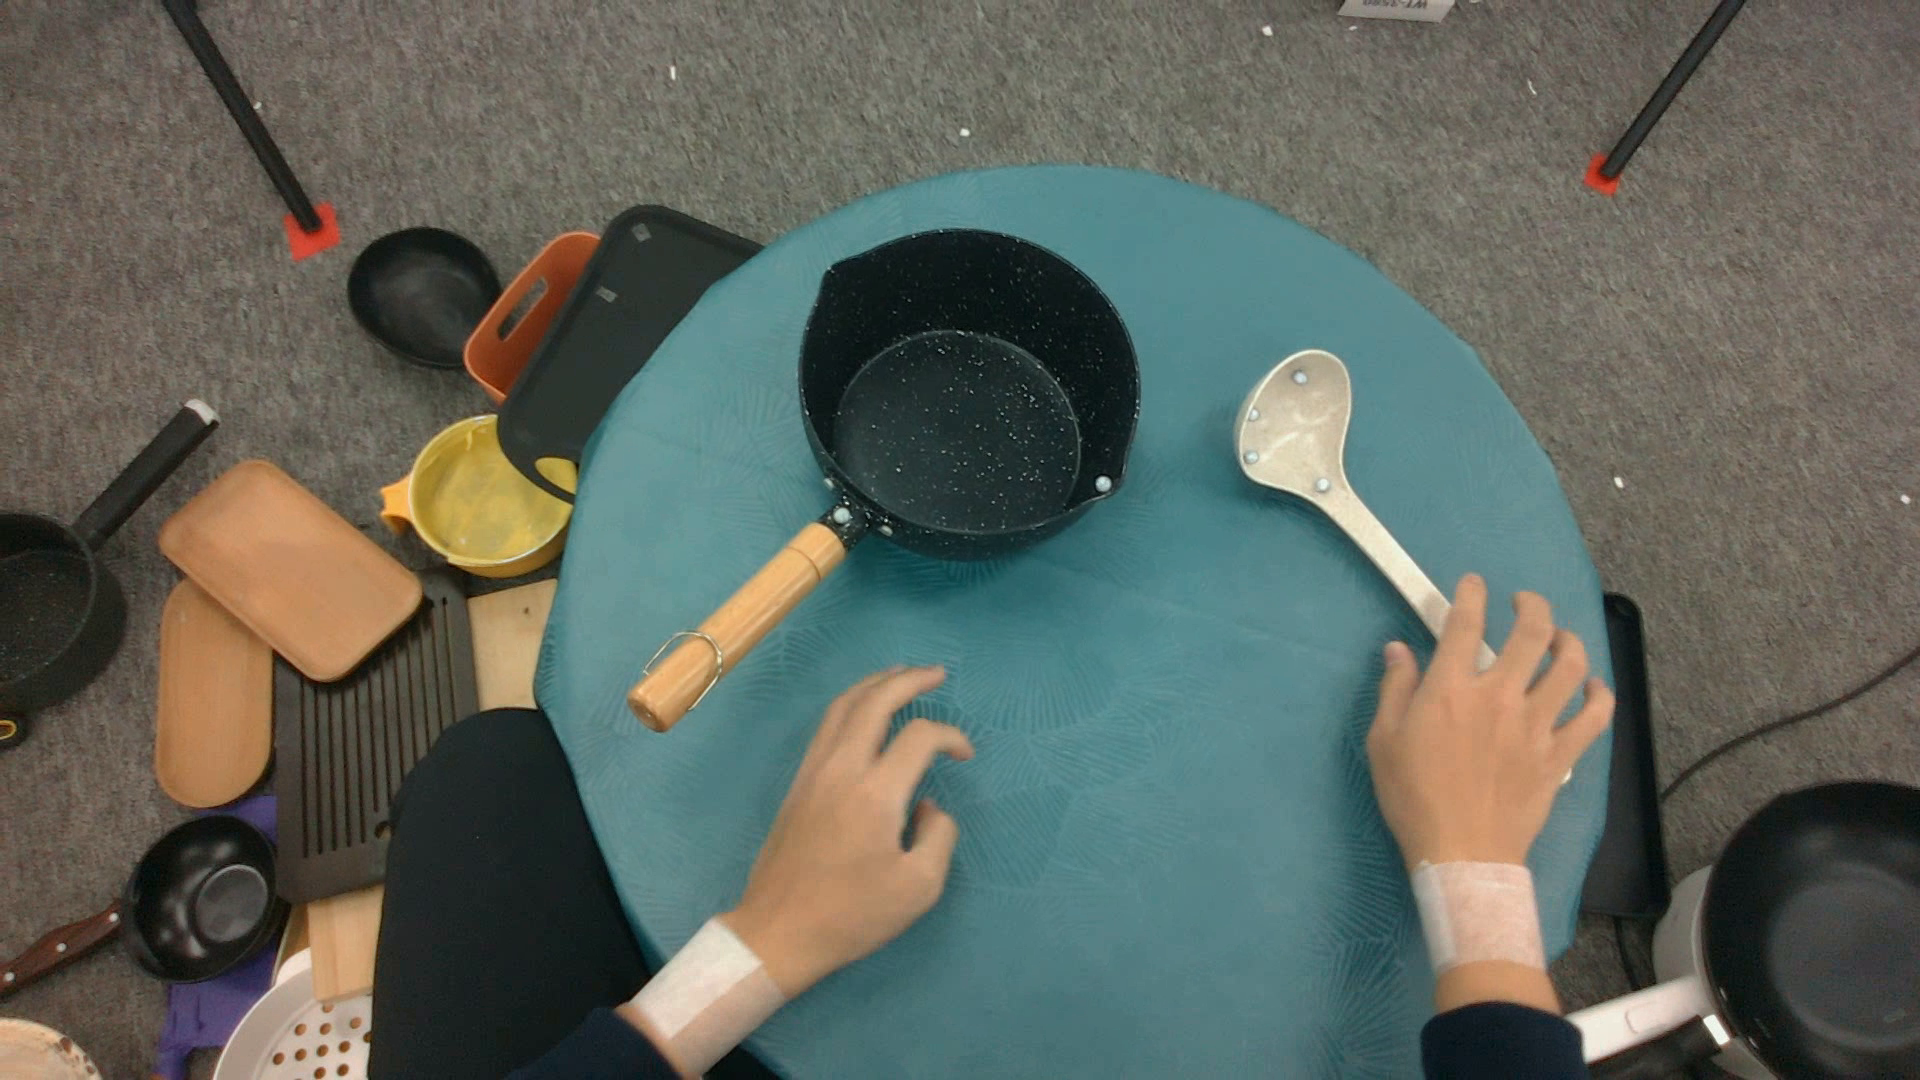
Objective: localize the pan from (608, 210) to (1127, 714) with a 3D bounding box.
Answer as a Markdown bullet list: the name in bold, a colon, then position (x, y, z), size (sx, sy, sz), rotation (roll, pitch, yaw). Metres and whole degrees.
- **pan**: position (-0.053, -0.029, 0.730), size (0.207, 0.108, 0.344), rotation (37, 68, 7)

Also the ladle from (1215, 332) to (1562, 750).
- **ladle**: position (0.251, 0.000, 0.772), size (0.090, 0.069, 0.275), rotation (-33, 73, -28)
